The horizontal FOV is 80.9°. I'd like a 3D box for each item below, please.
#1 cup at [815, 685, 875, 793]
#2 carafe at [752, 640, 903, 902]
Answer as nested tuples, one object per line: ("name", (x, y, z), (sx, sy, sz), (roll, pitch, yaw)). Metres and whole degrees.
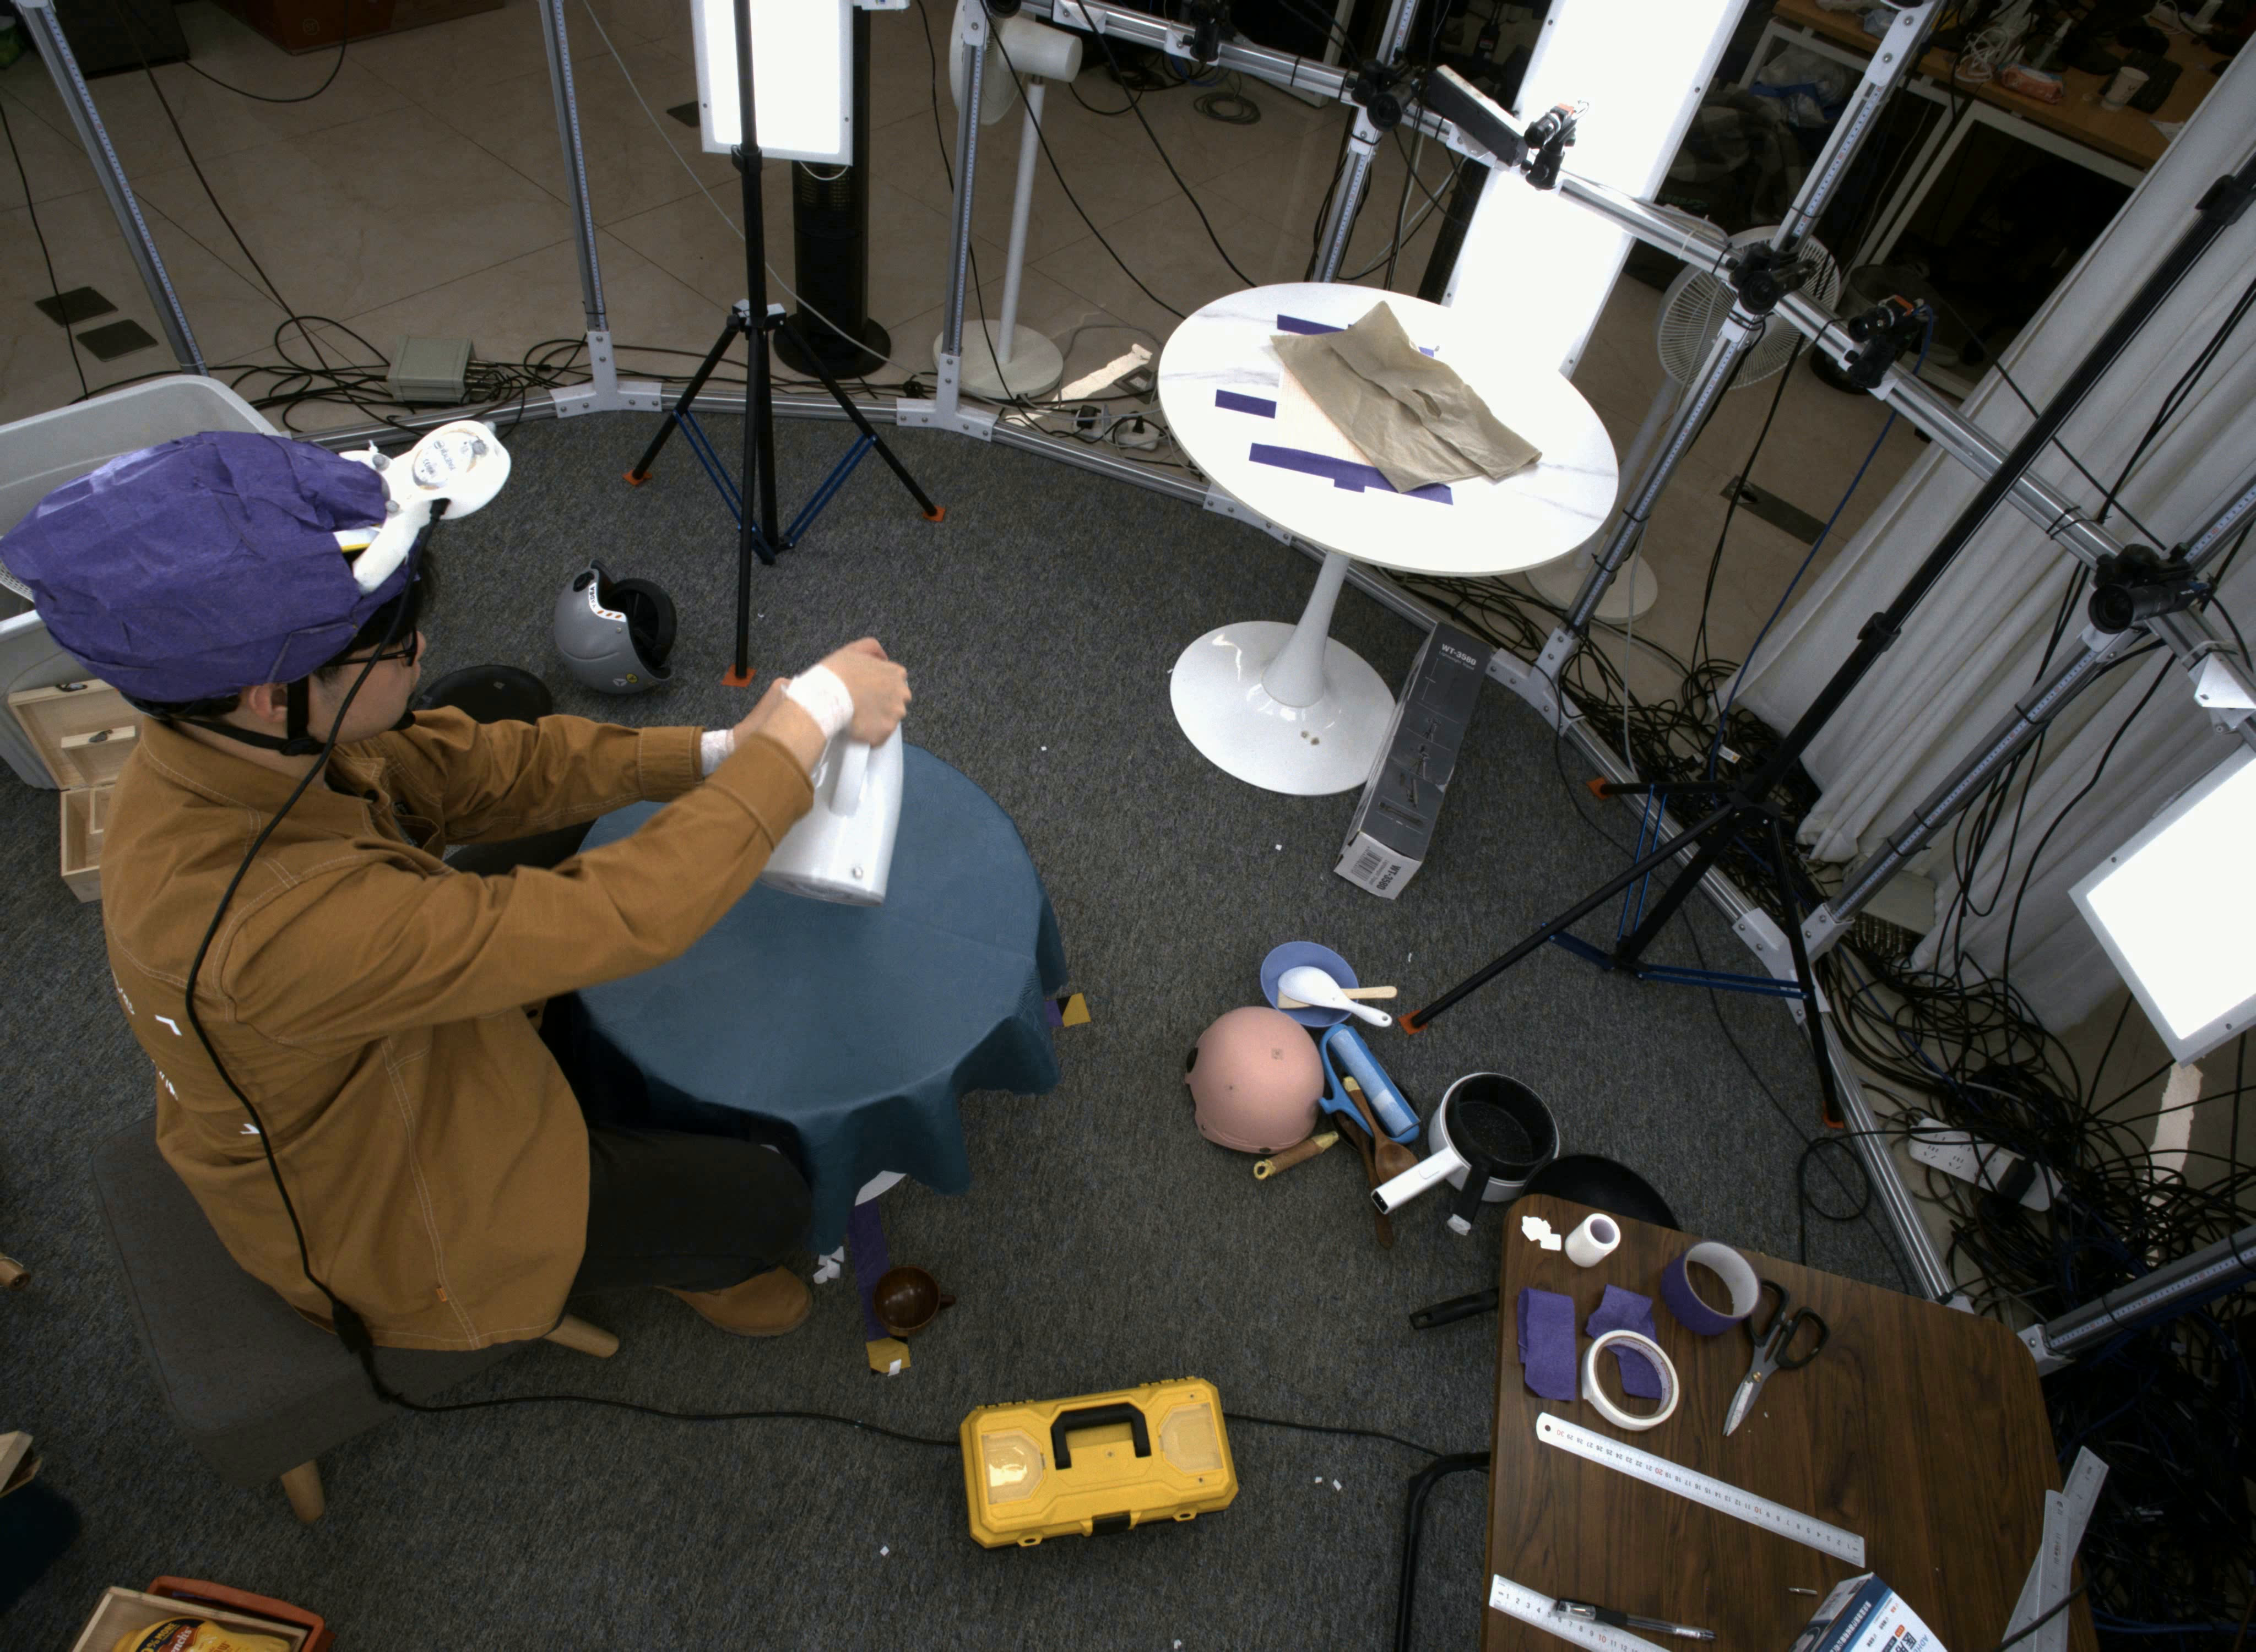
("cup", (-0.340, -0.103, 1.558), (0.066, 0.135, 0.066), (4, 58, -6))
("carafe", (-0.294, -0.062, 1.338), (0.134, 0.166, 0.249), (13, 78, -18))
